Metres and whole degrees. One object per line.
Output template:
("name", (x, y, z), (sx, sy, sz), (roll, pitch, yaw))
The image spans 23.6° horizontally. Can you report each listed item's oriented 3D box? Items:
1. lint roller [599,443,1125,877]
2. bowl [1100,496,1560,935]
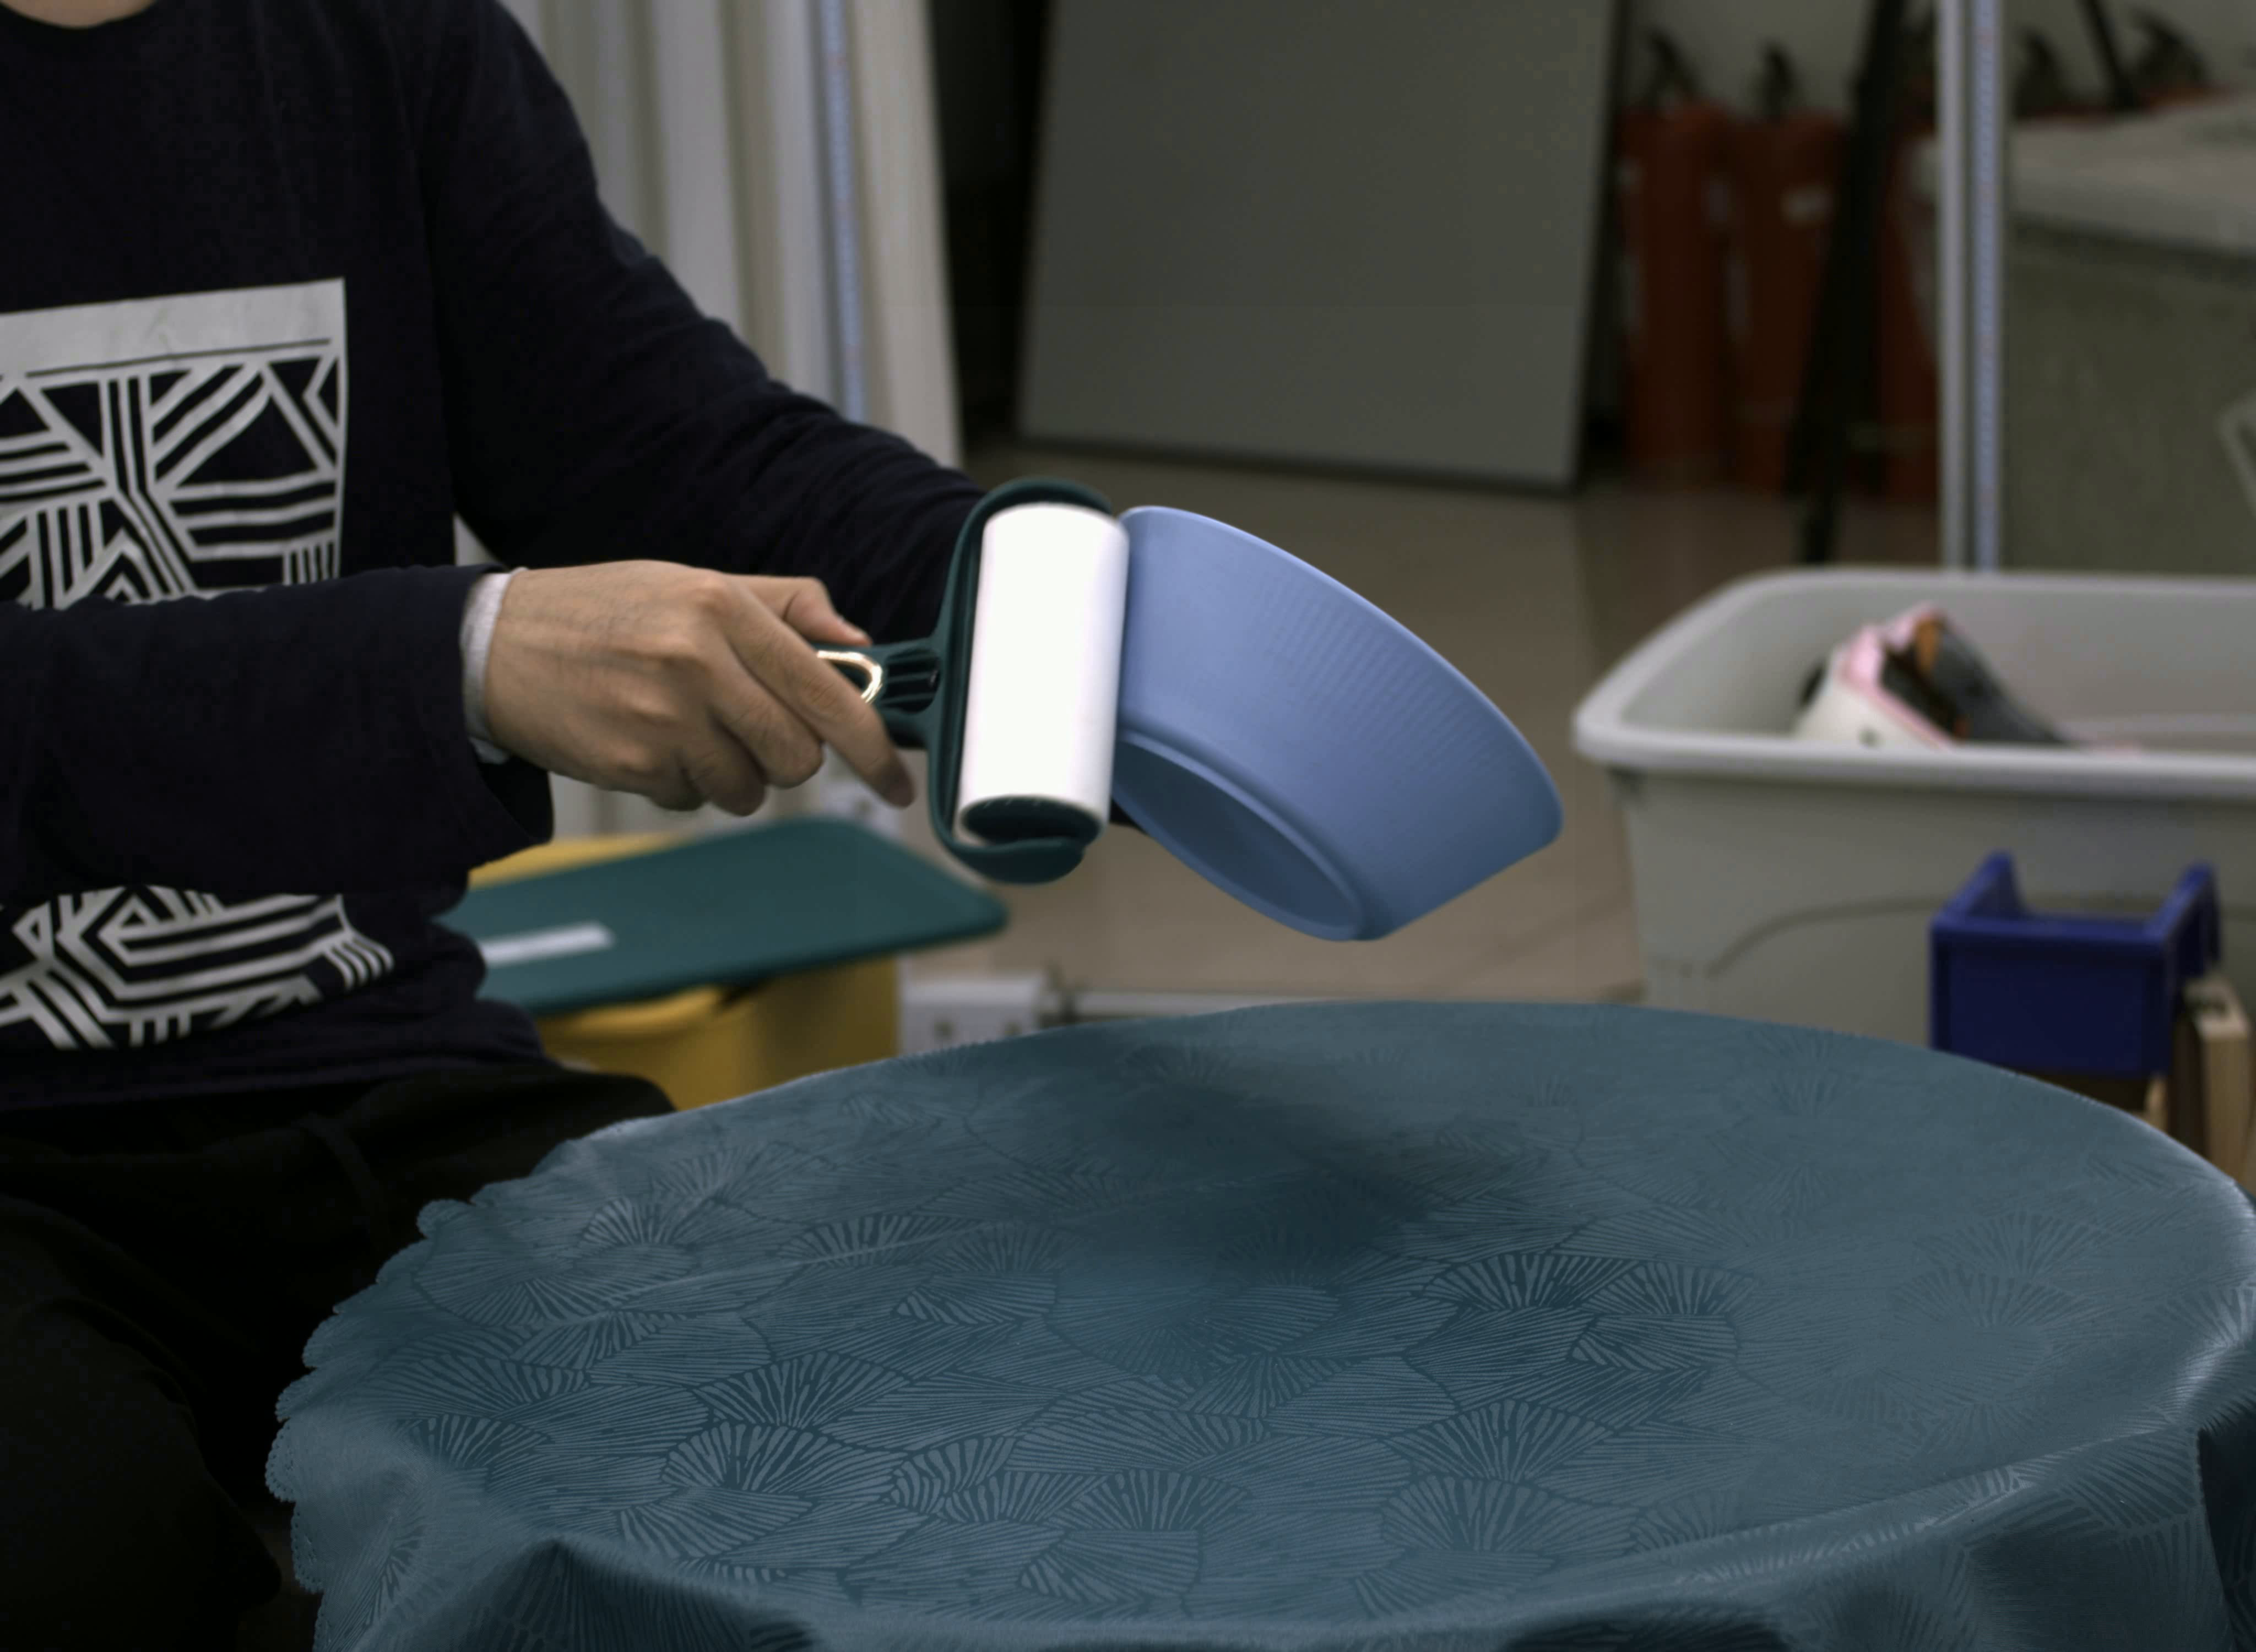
("lint roller", (-0.089, -0.047, 1.699), (0.179, 0.136, 0.048), (-3, -23, 16))
("bowl", (0.049, -0.025, 1.728), (0.070, 0.174, 0.178), (-53, 33, -15))
